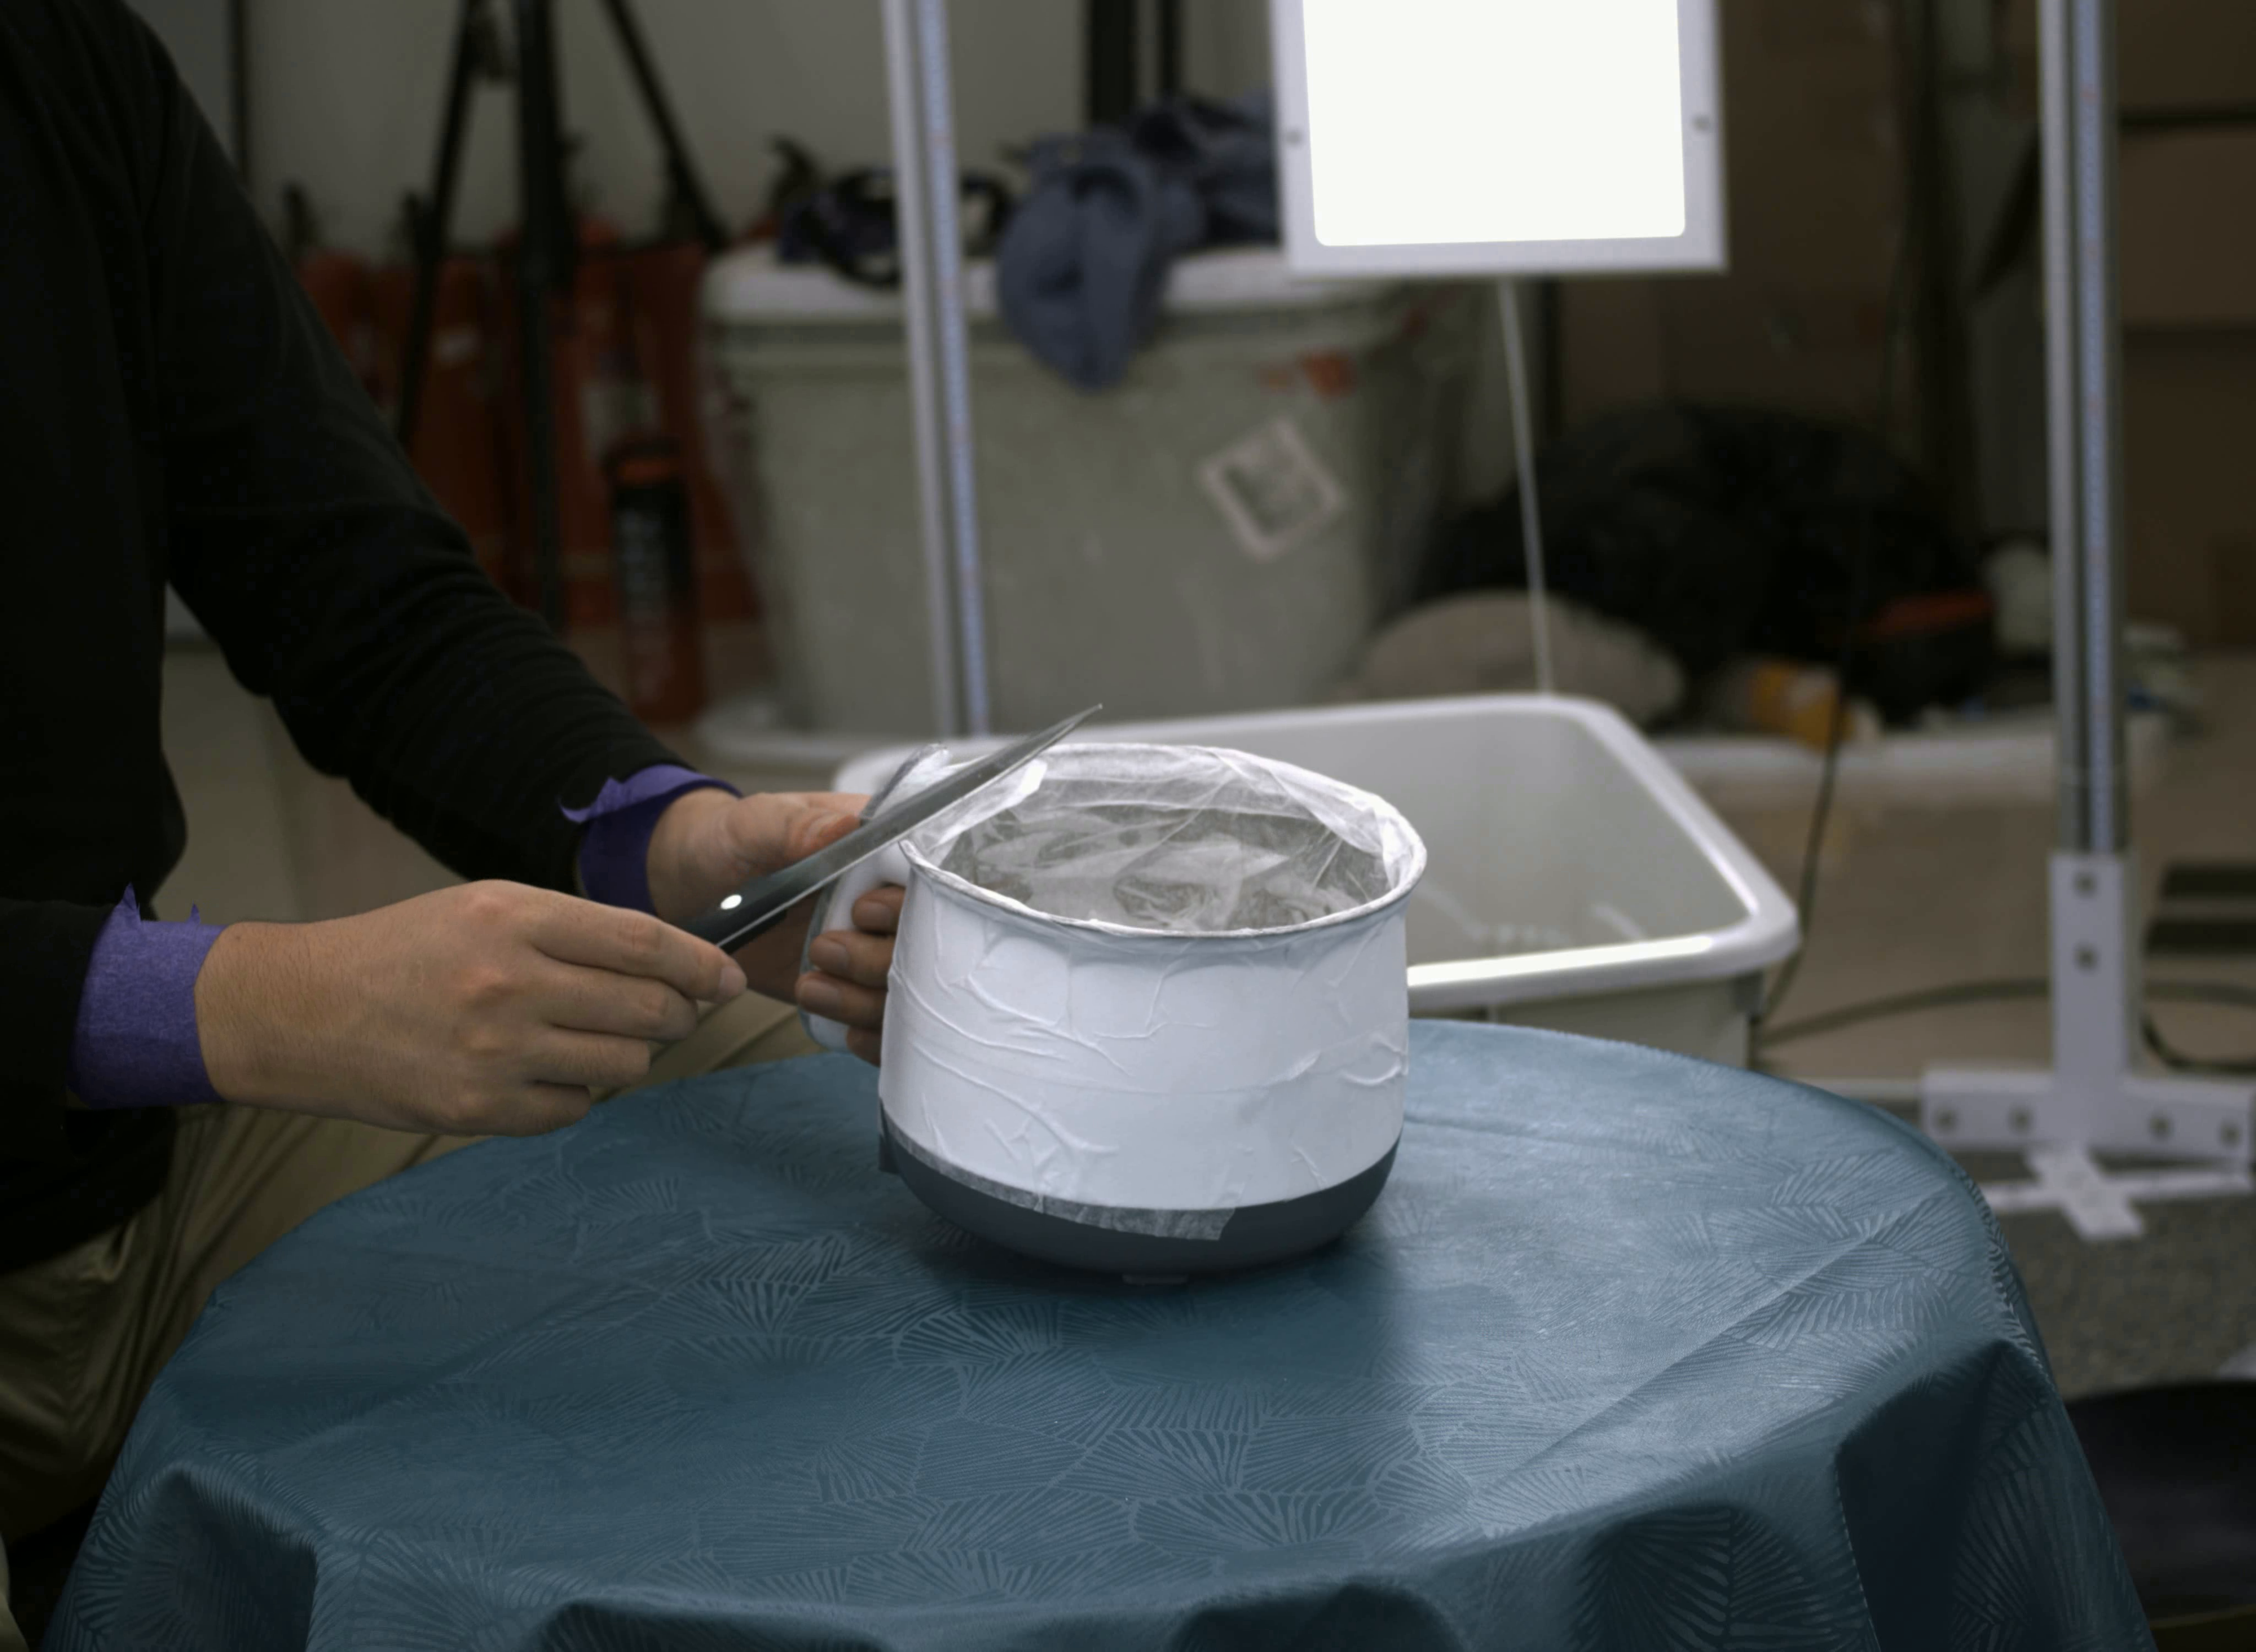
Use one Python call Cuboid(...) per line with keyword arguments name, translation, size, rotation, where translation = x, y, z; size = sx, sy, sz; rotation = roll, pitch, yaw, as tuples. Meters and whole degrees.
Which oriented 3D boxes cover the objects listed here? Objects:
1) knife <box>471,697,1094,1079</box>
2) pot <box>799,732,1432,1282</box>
Cuboid(name="knife", translation=(-0.110, 0.018, 1.805), size=(0.236, 0.016, 0.025), rotation=(-31, 27, -9))
Cuboid(name="pot", translation=(-0.015, 0.053, 1.853), size=(0.238, 0.137, 0.174), rotation=(19, 25, 35))
